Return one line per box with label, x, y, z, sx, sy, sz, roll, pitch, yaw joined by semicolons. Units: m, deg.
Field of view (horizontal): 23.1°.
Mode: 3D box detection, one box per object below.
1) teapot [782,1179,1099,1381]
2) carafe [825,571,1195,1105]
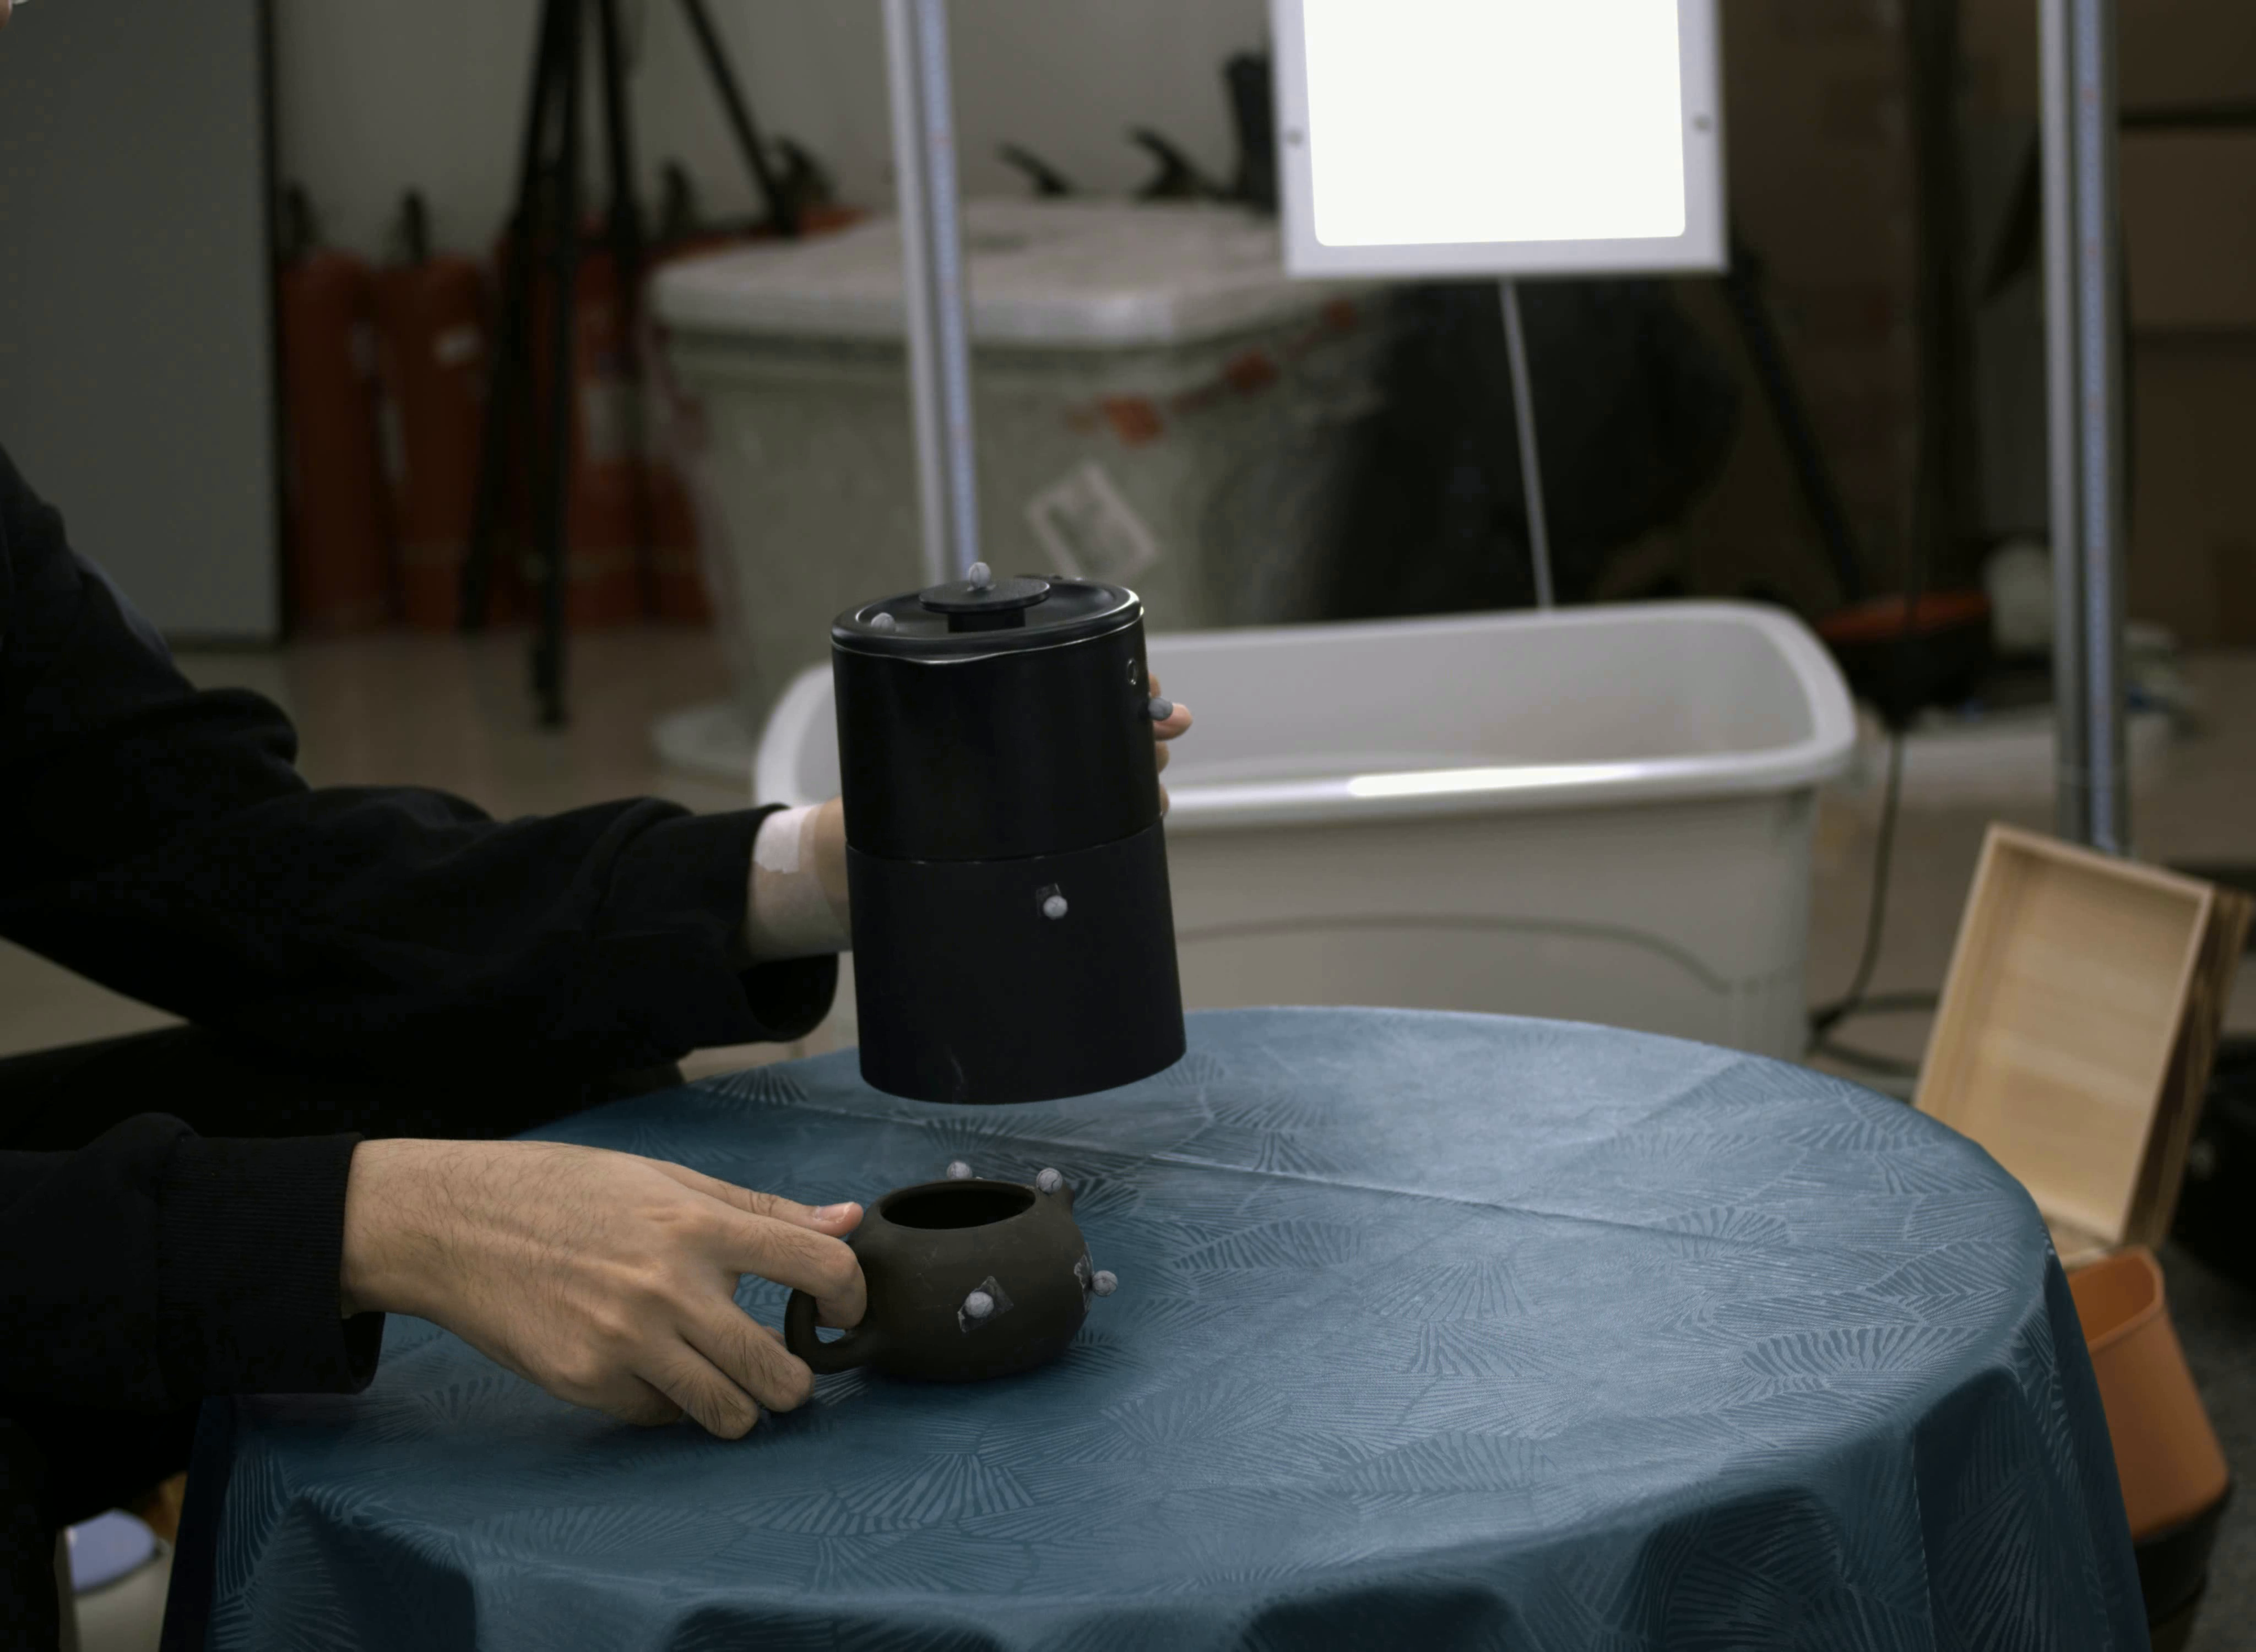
teapot;-0.060;0.145;1.738;0.111;0.053;0.084;-10;13;-32
carafe;-0.039;-0.006;1.911;0.115;0.174;0.169;-4;15;13
